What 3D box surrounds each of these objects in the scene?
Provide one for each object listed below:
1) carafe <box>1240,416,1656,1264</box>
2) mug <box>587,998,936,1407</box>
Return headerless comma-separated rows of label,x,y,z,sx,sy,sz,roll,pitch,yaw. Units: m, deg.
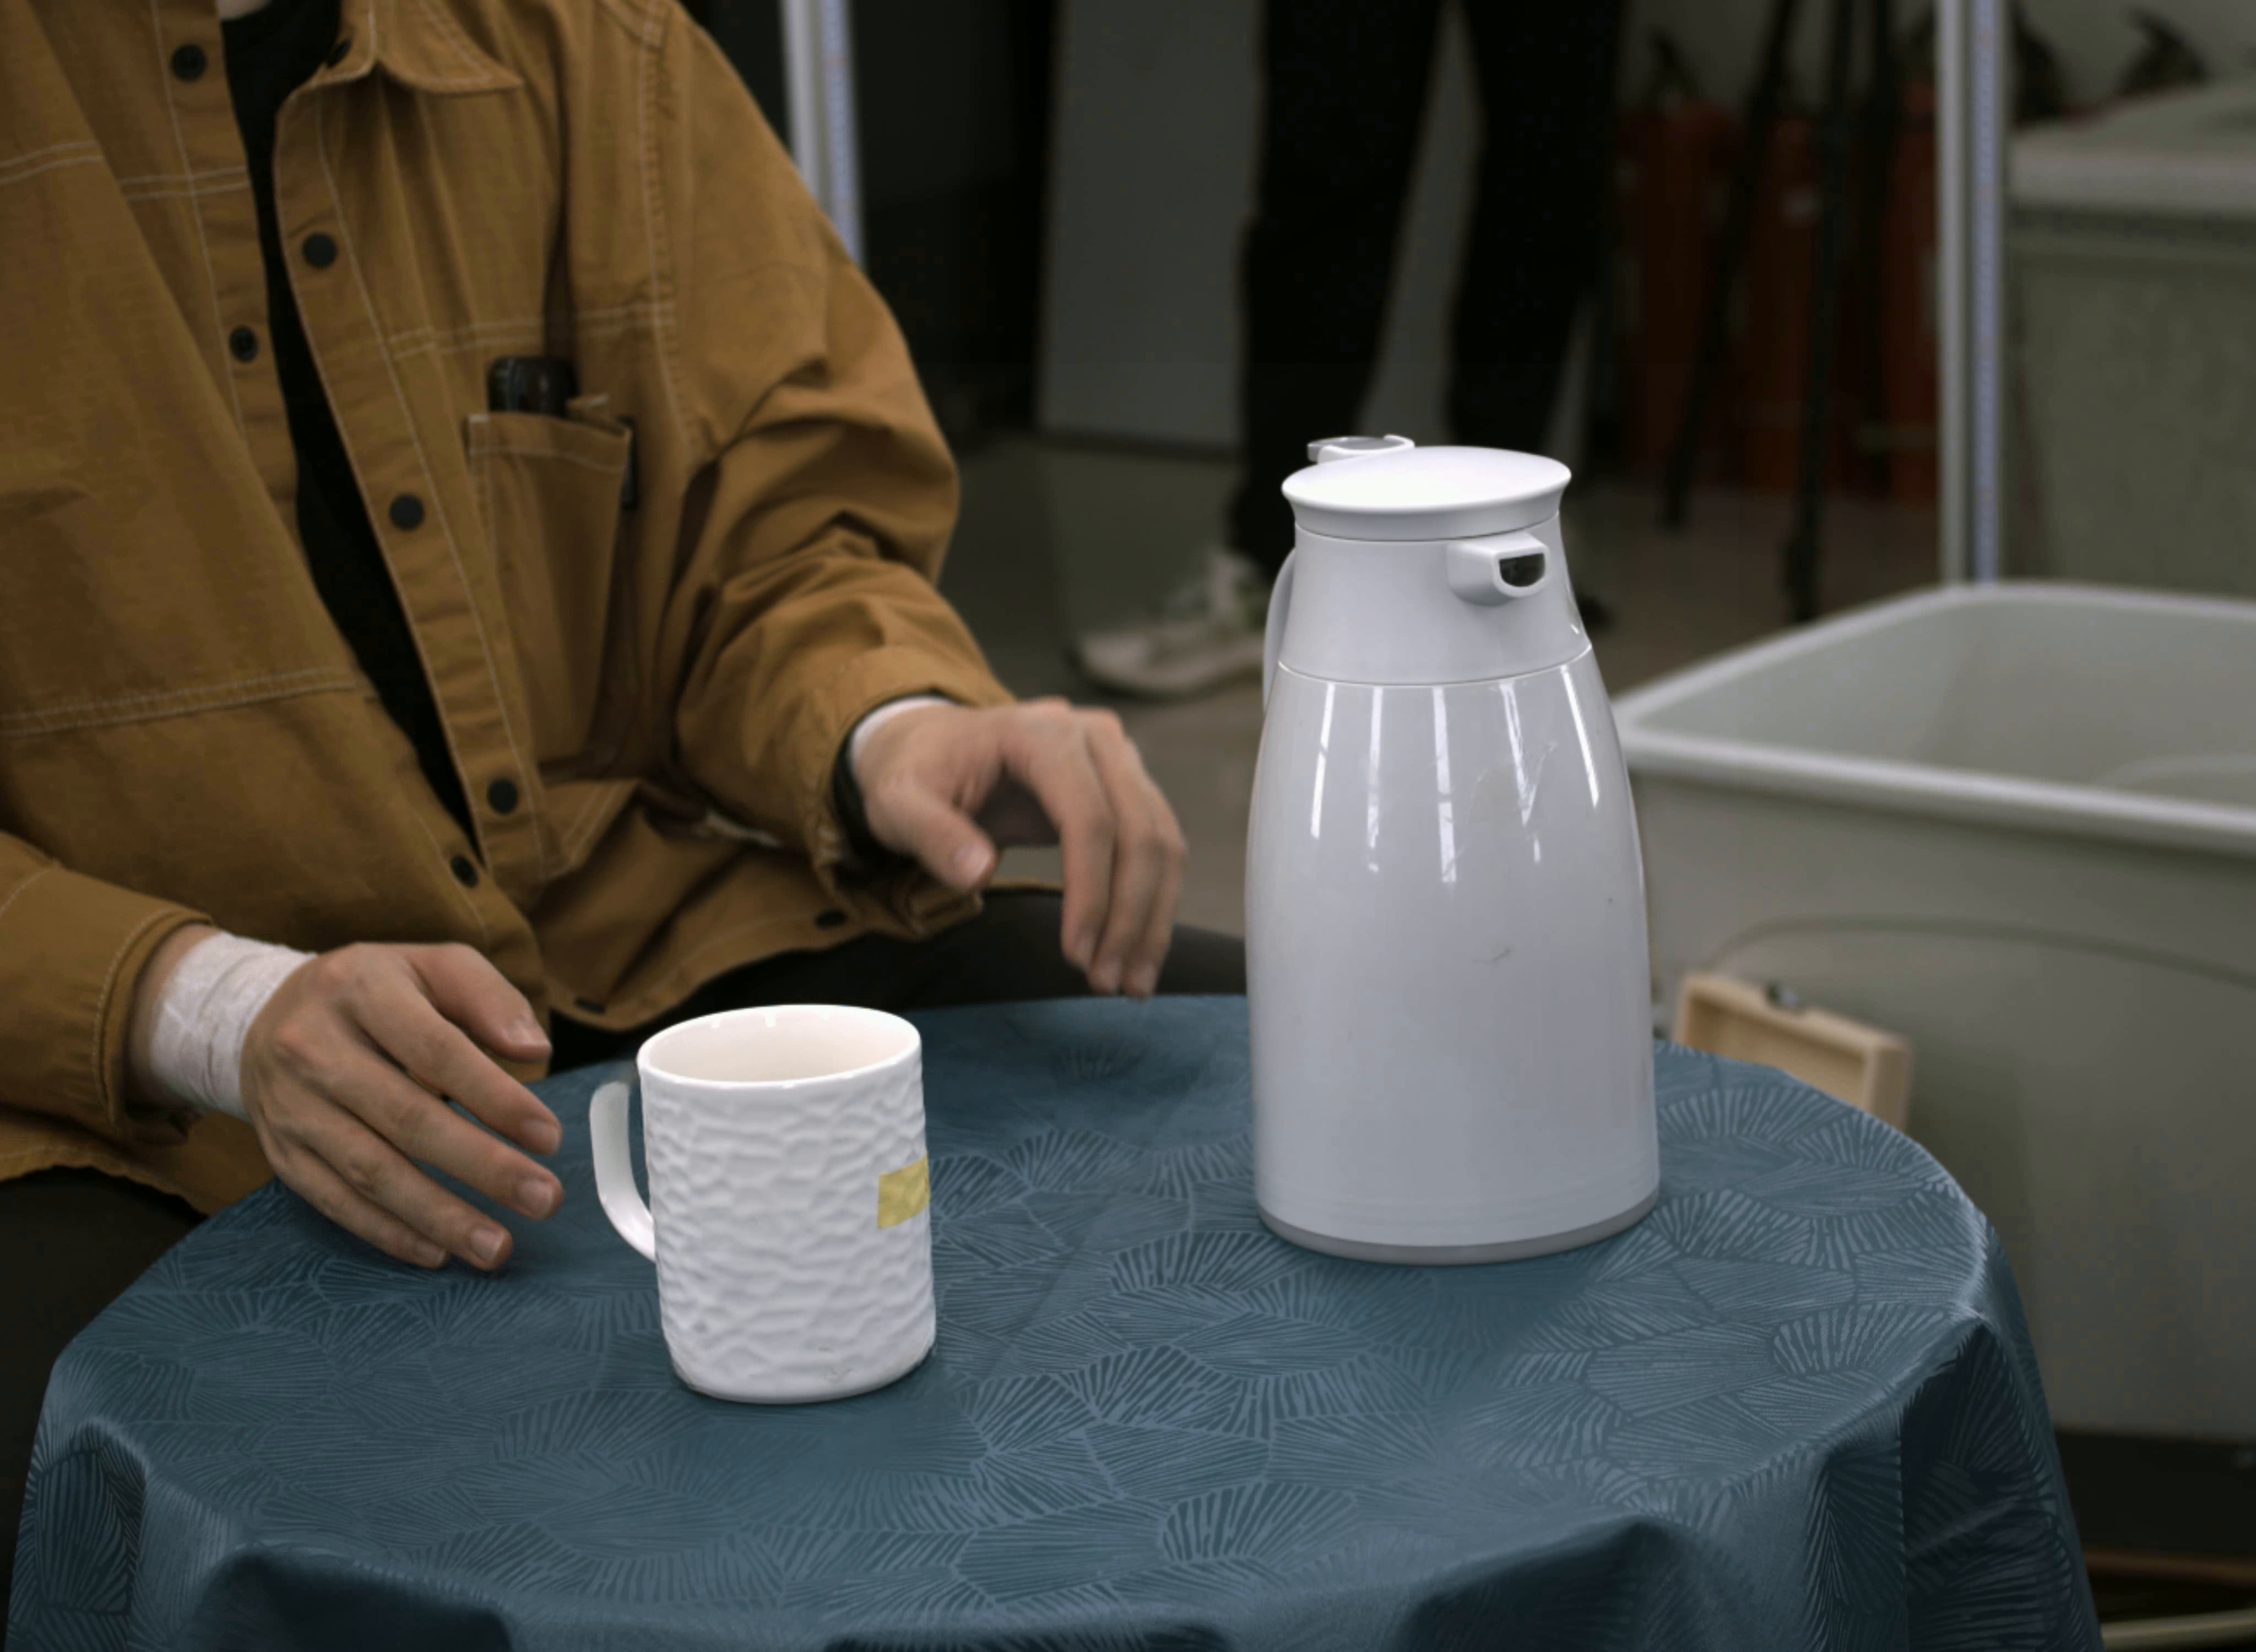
carafe,0.089,-0.004,1.729,0.130,0.251,0.169,-11,15,-24
mug,-0.114,0.111,1.632,0.119,0.103,0.083,6,17,36
